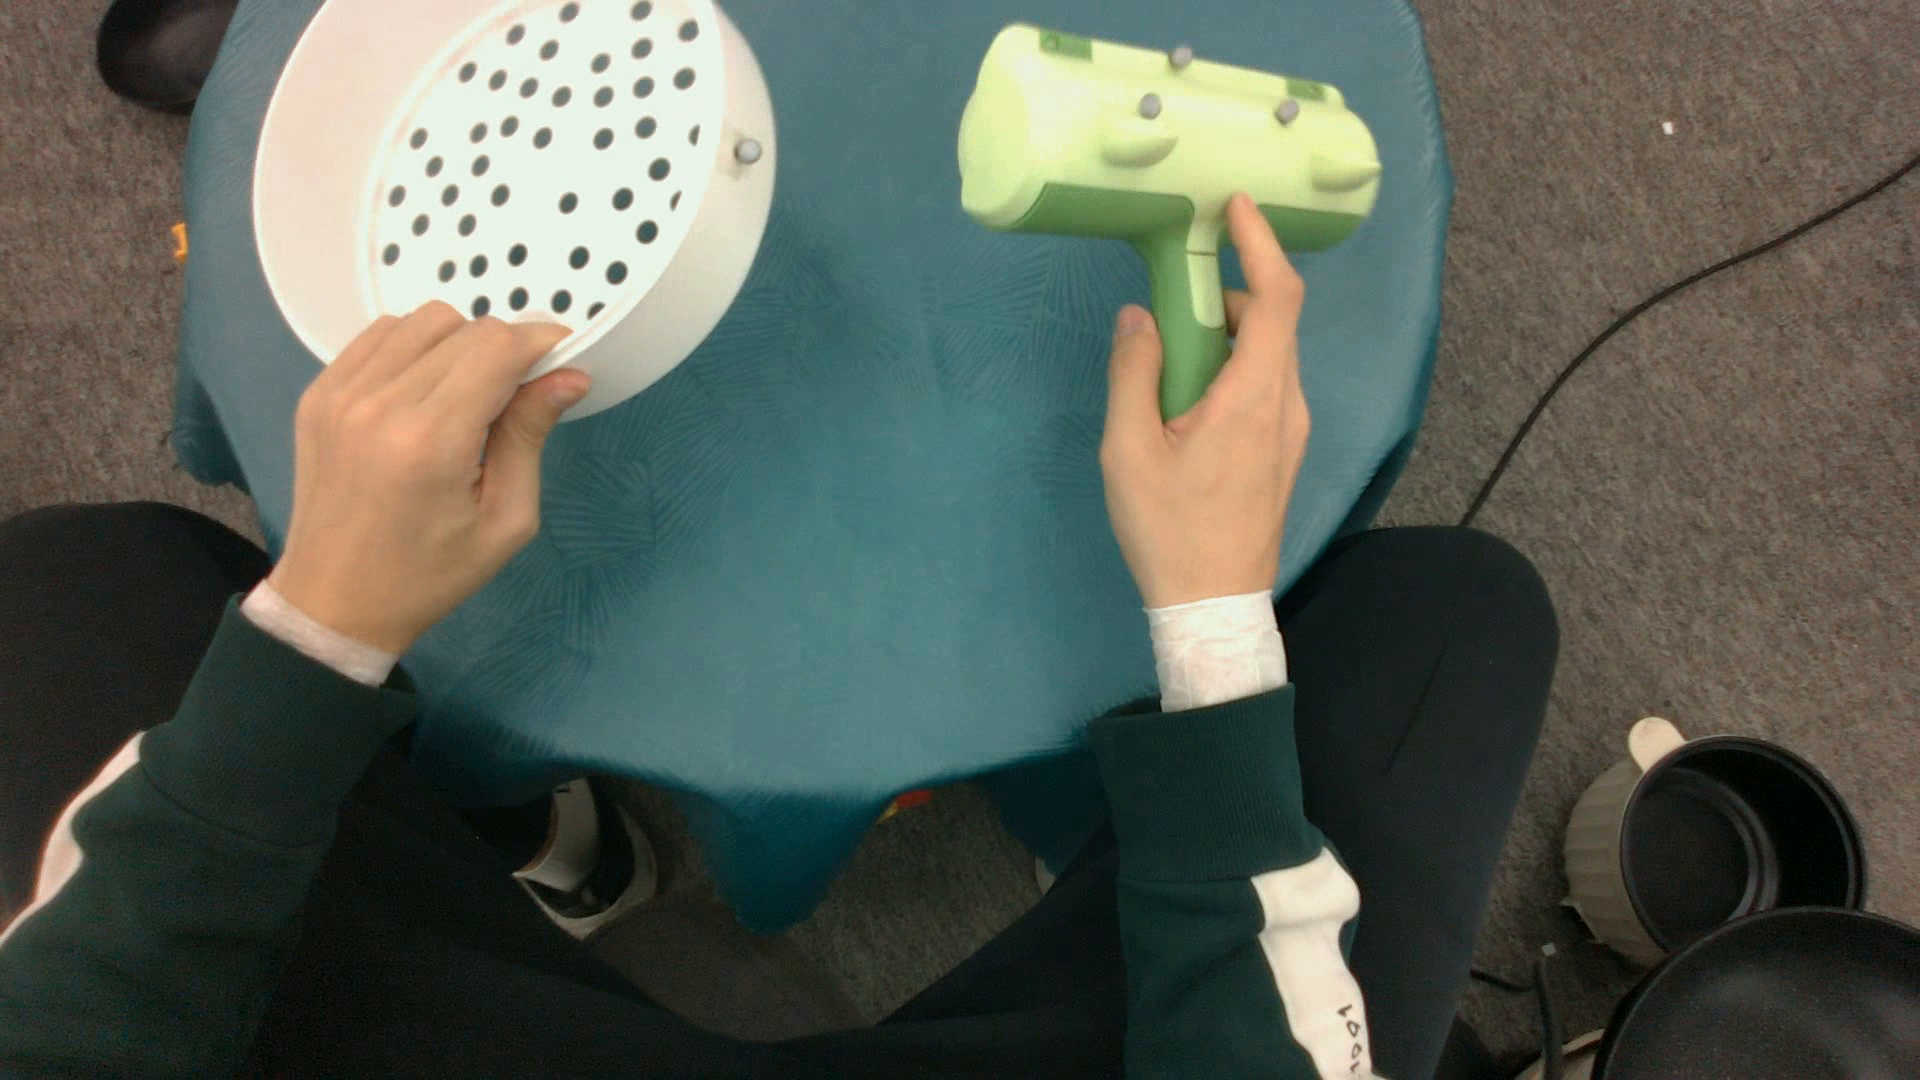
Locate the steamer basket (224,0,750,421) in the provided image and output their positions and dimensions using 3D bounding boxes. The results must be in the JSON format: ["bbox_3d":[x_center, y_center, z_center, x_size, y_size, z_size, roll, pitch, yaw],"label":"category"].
[{"bbox_3d":[-0.184,-0.150,0.544,0.201,0.069,0.231,3,78,16],"label":"steamer basket"}]

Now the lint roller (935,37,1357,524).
[{"bbox_3d":[0.093,-0.102,0.547,0.199,0.082,0.183,-5,83,-34],"label":"lint roller"}]
